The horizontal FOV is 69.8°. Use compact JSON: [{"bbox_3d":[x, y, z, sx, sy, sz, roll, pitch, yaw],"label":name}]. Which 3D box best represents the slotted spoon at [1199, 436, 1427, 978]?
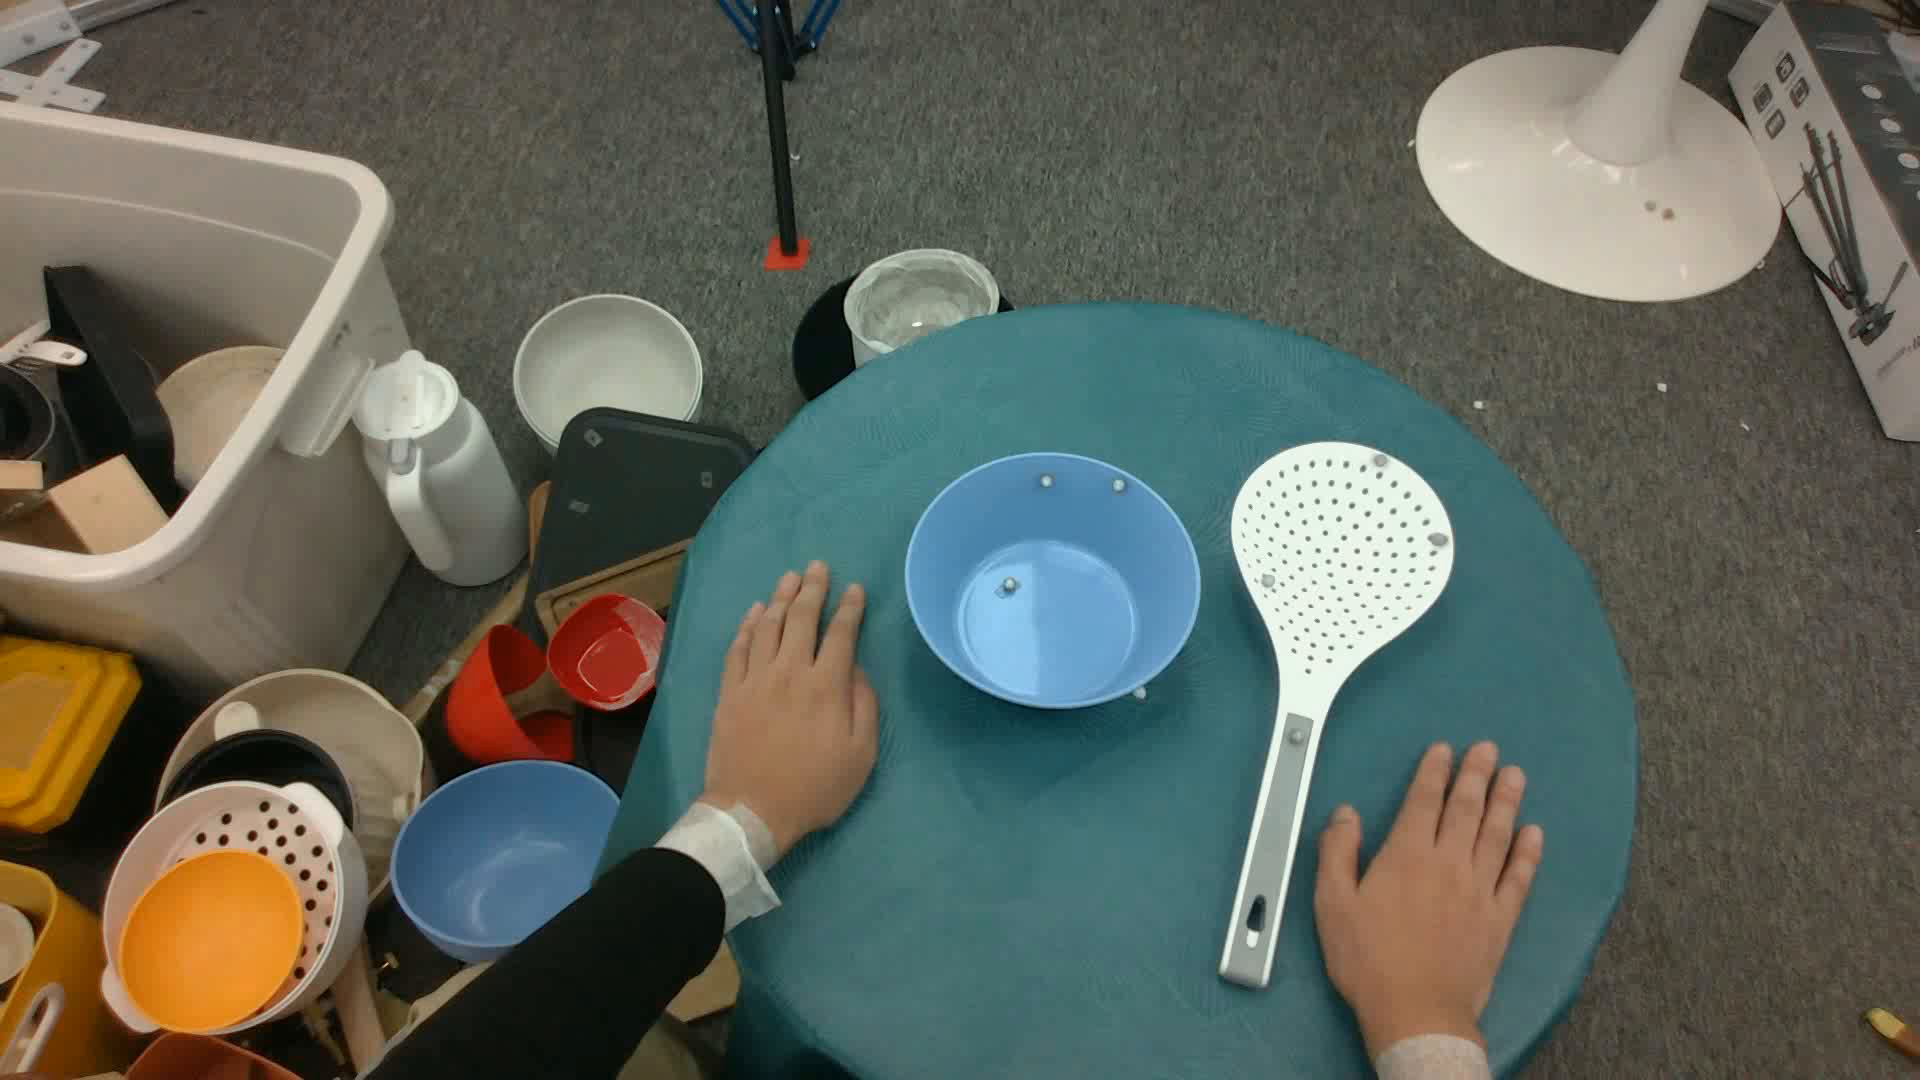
[{"bbox_3d":[0.196,0.089,0.830,0.136,0.045,0.351,15,60,7],"label":"slotted spoon"}]

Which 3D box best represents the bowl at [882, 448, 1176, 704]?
[{"bbox_3d":[0.040,0.033,0.843,0.176,0.070,0.177,1,59,-1],"label":"bowl"}]
